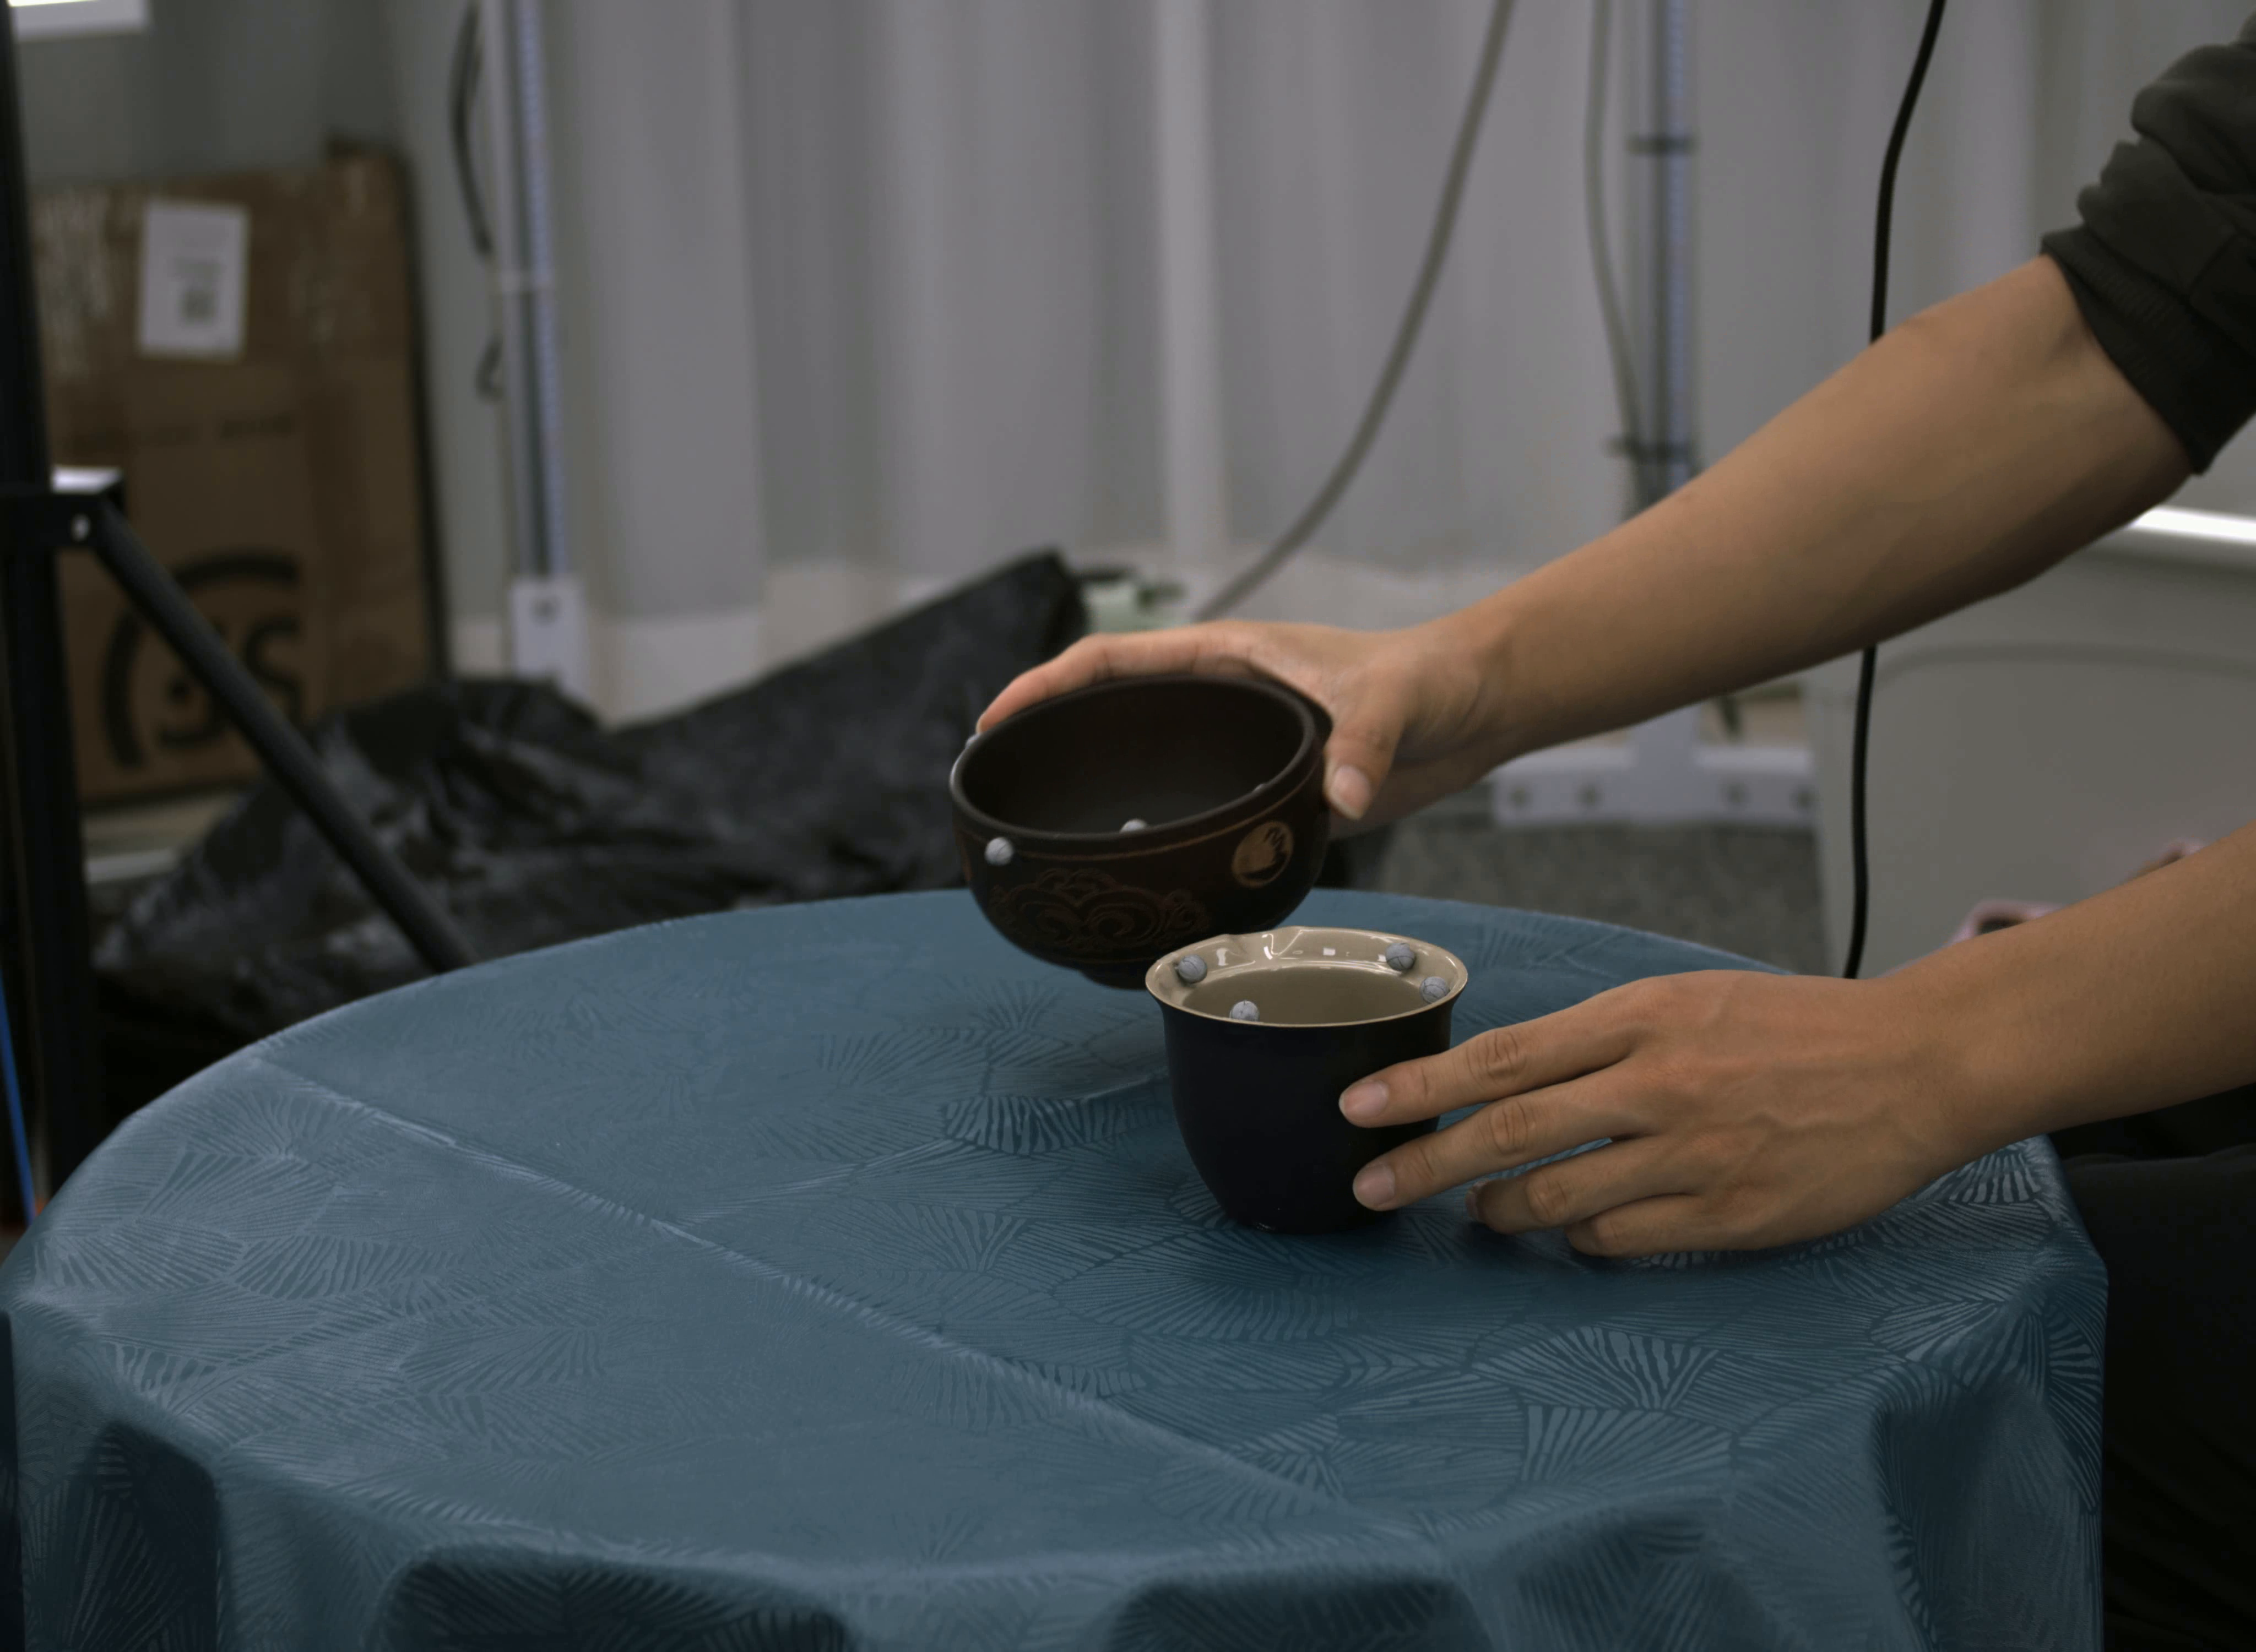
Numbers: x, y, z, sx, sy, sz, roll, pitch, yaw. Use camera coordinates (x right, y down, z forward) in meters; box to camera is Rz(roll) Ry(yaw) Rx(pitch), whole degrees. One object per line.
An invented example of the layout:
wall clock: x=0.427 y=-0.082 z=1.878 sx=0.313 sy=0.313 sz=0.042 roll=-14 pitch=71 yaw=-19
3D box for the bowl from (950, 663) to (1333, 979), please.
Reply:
bowl: x=0.007 y=0.004 z=1.648 sx=0.118 sy=0.069 sz=0.119 roll=-8 pitch=25 yaw=2

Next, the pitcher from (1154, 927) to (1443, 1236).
pitcher: x=0.050 y=0.076 z=1.534 sx=0.083 sy=0.071 sz=0.097 roll=-6 pitch=15 yaw=-6
